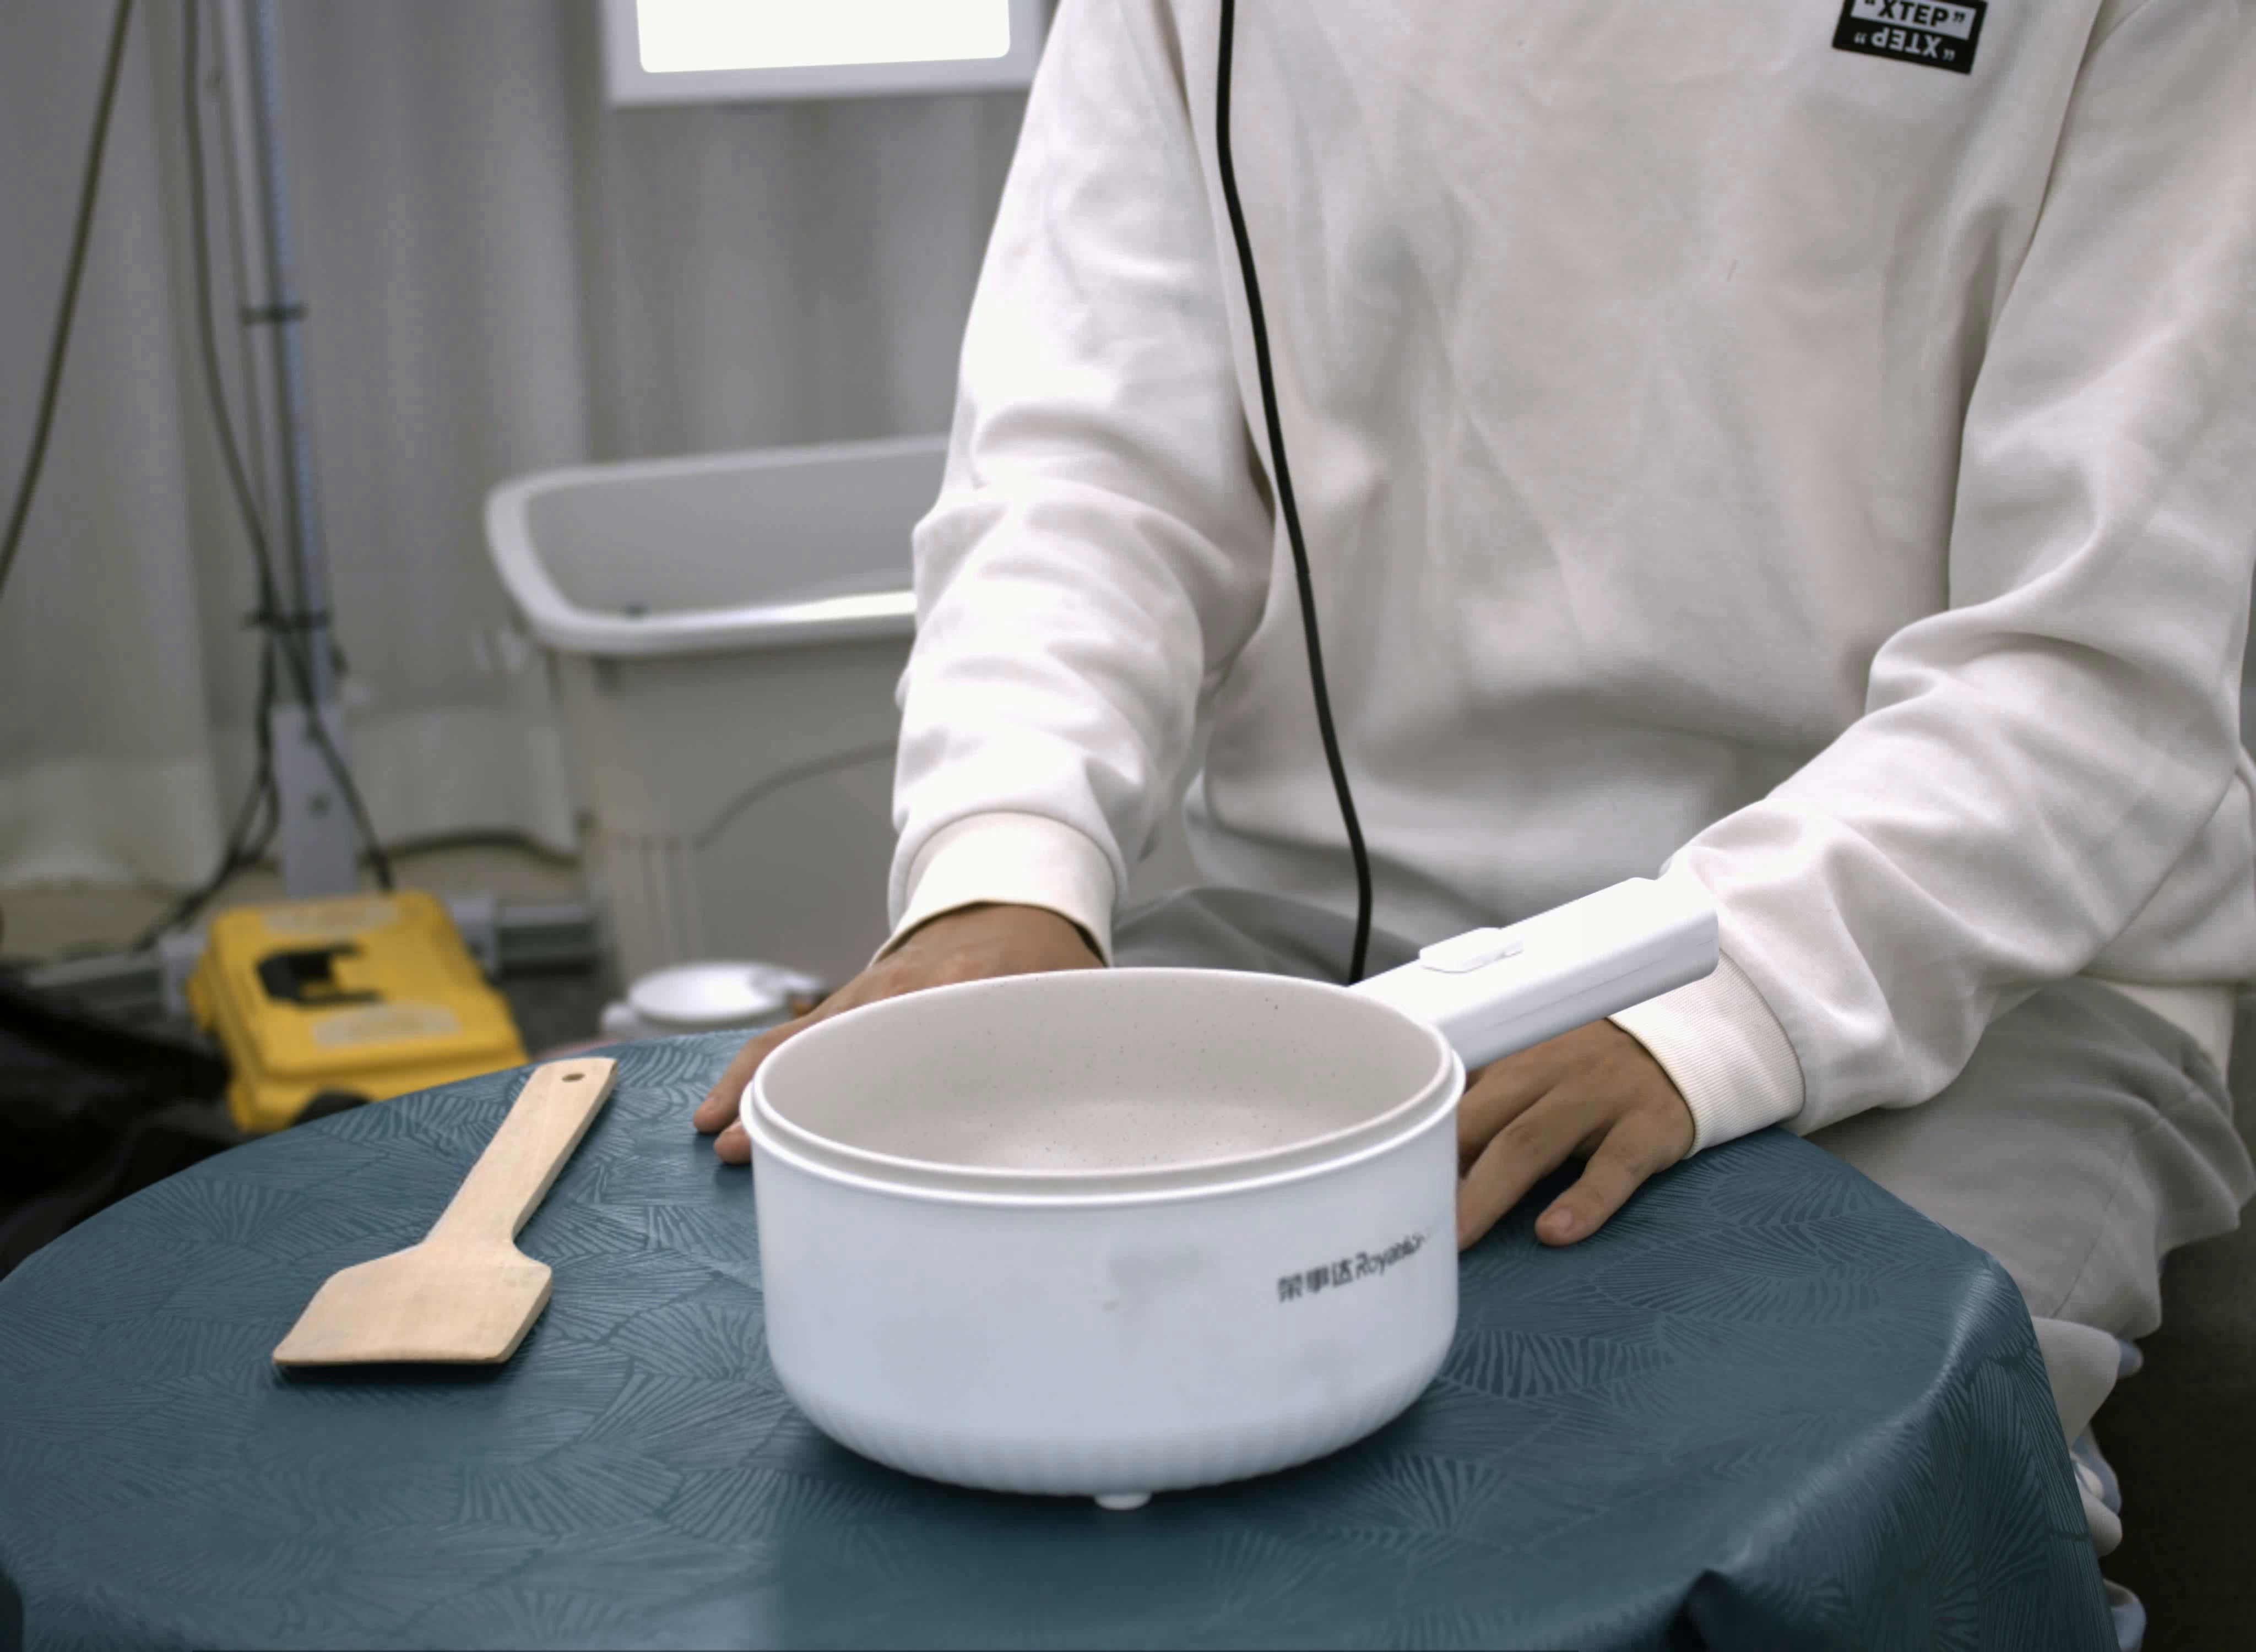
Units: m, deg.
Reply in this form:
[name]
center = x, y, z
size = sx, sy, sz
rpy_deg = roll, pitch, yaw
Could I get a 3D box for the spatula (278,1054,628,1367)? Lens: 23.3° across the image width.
[spatula]
center = -0.199, 0.119, 1.720
size = 0.072, 0.010, 0.295
rpy_deg = -3, 15, 7

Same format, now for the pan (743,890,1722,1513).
[pan]
center = 0.048, 0.101, 1.577
size = 0.202, 0.102, 0.354
rpy_deg = 9, 17, 43
